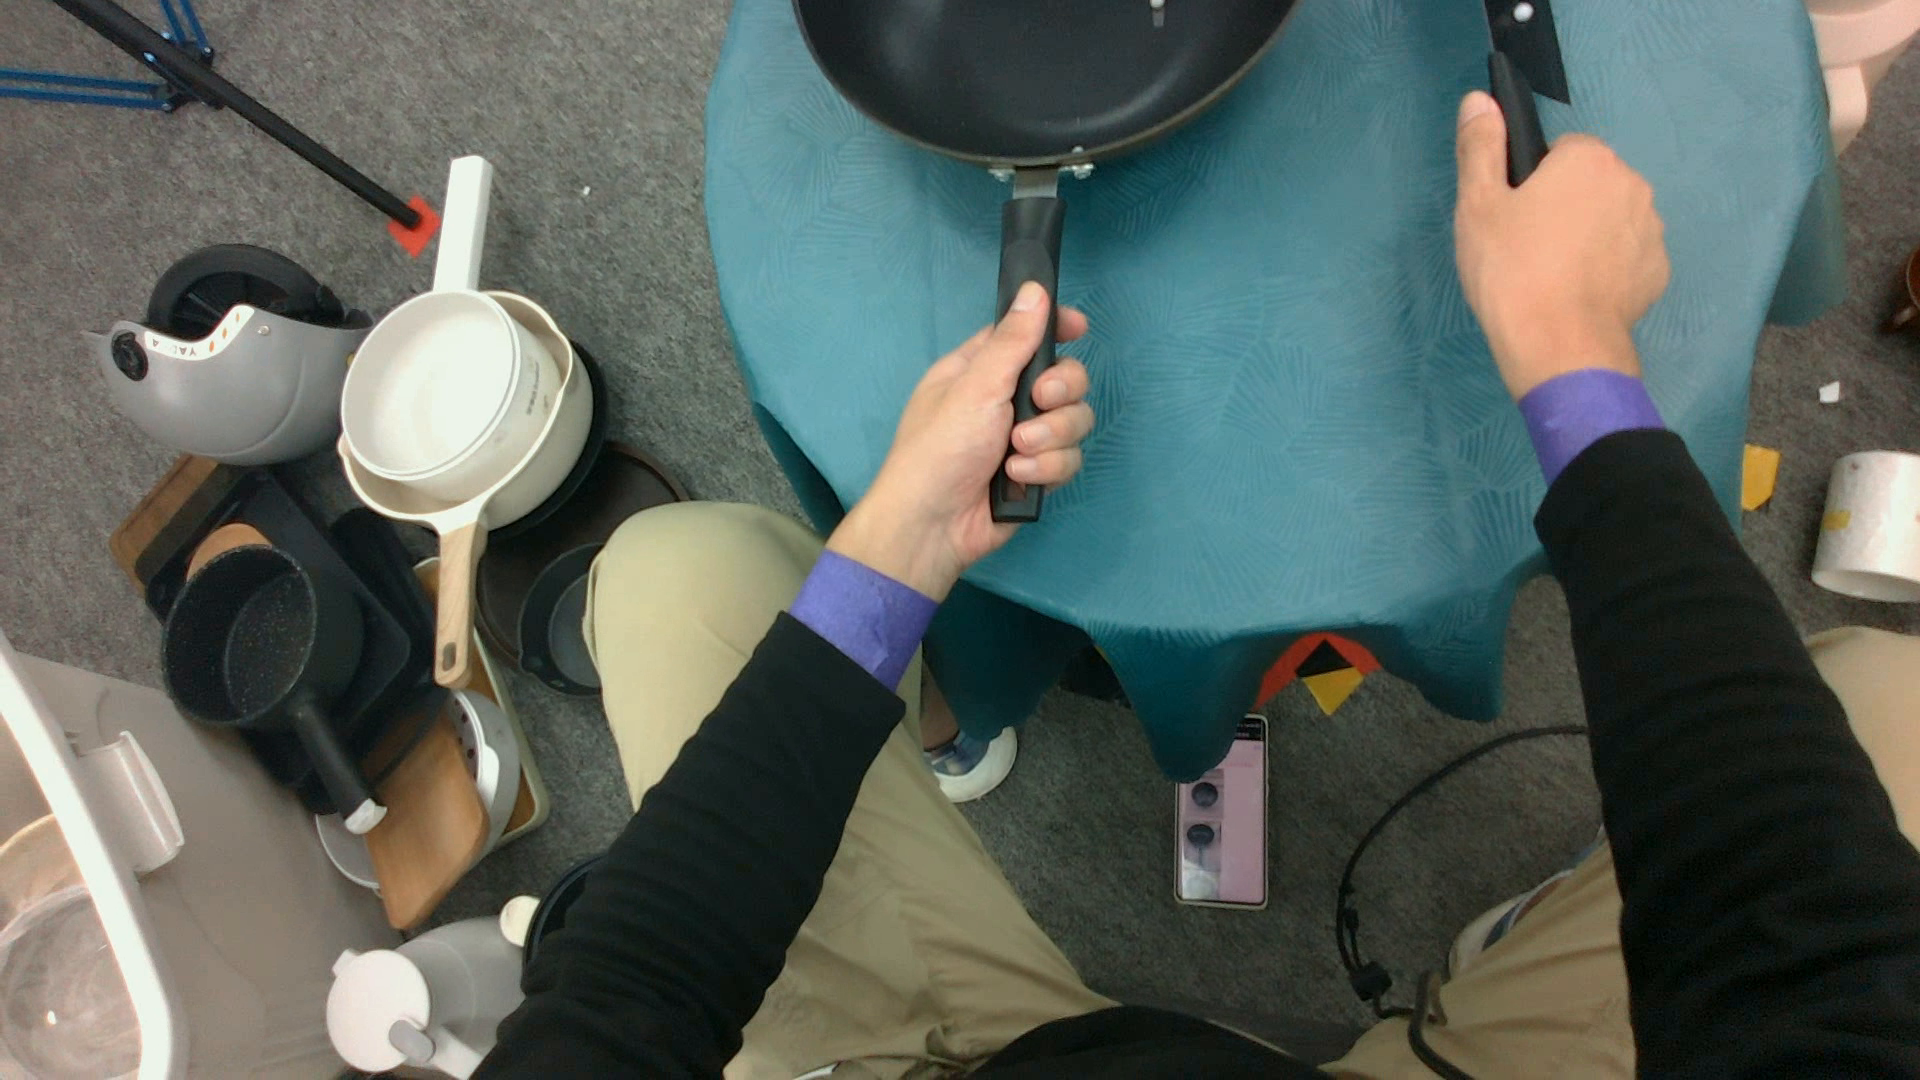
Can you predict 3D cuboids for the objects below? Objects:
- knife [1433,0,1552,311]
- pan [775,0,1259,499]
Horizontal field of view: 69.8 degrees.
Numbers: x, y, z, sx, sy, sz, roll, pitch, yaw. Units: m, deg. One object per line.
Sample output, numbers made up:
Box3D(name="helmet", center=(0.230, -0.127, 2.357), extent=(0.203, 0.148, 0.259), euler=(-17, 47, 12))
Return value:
Box3D(name="knife", center=(0.249, -0.257, 0.669), extent=(0.021, 0.081, 0.303), euler=(-20, 73, 53))
Box3D(name="pan", center=(0.035, -0.238, 0.729), extent=(0.288, 0.087, 0.464), euler=(1, 77, 12))
